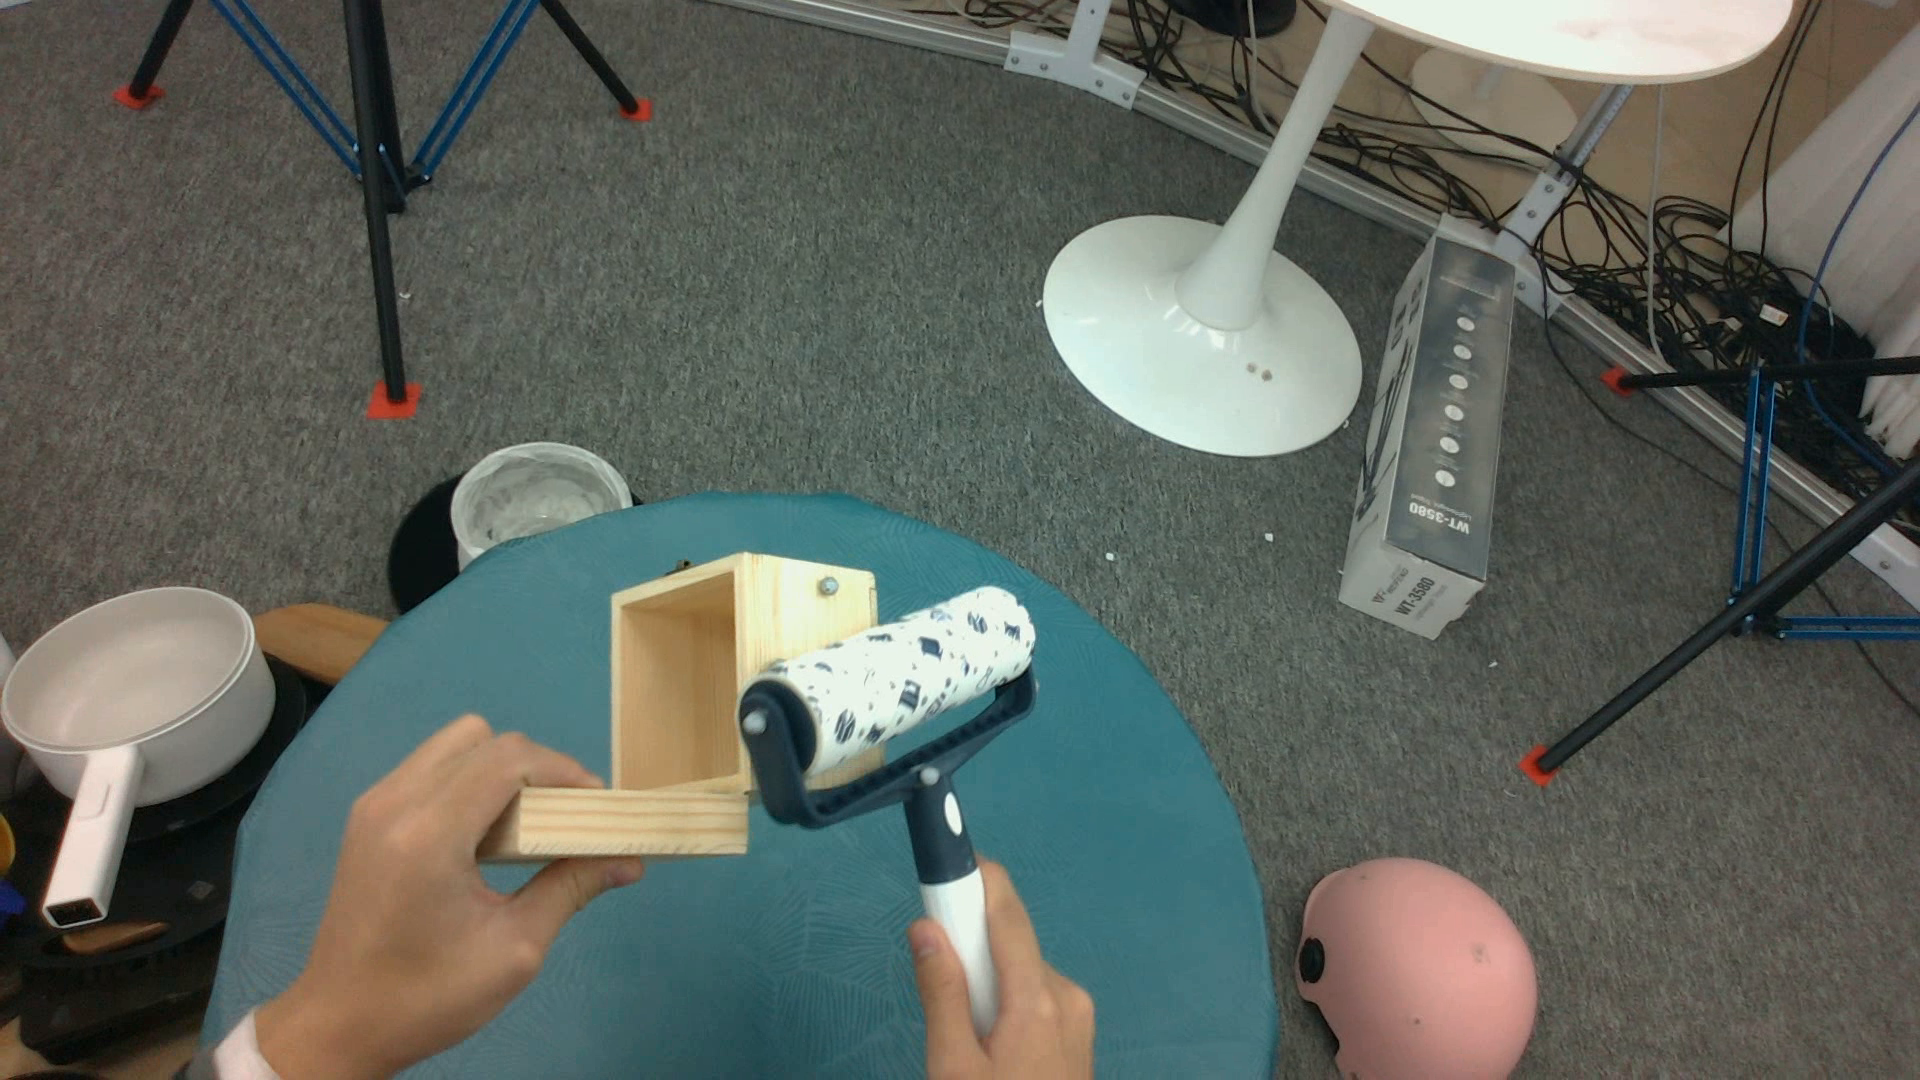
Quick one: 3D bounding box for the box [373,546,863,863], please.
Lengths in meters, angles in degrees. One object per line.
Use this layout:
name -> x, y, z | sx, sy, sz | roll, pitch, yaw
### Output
box -> -0.140, 0.069, 0.592 | 0.185, 0.102, 0.134 | 10, 70, -46

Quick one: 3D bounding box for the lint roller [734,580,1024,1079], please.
lint roller -> -0.005, 0.151, 0.610 | 0.177, 0.050, 0.247 | -19, 95, -57
